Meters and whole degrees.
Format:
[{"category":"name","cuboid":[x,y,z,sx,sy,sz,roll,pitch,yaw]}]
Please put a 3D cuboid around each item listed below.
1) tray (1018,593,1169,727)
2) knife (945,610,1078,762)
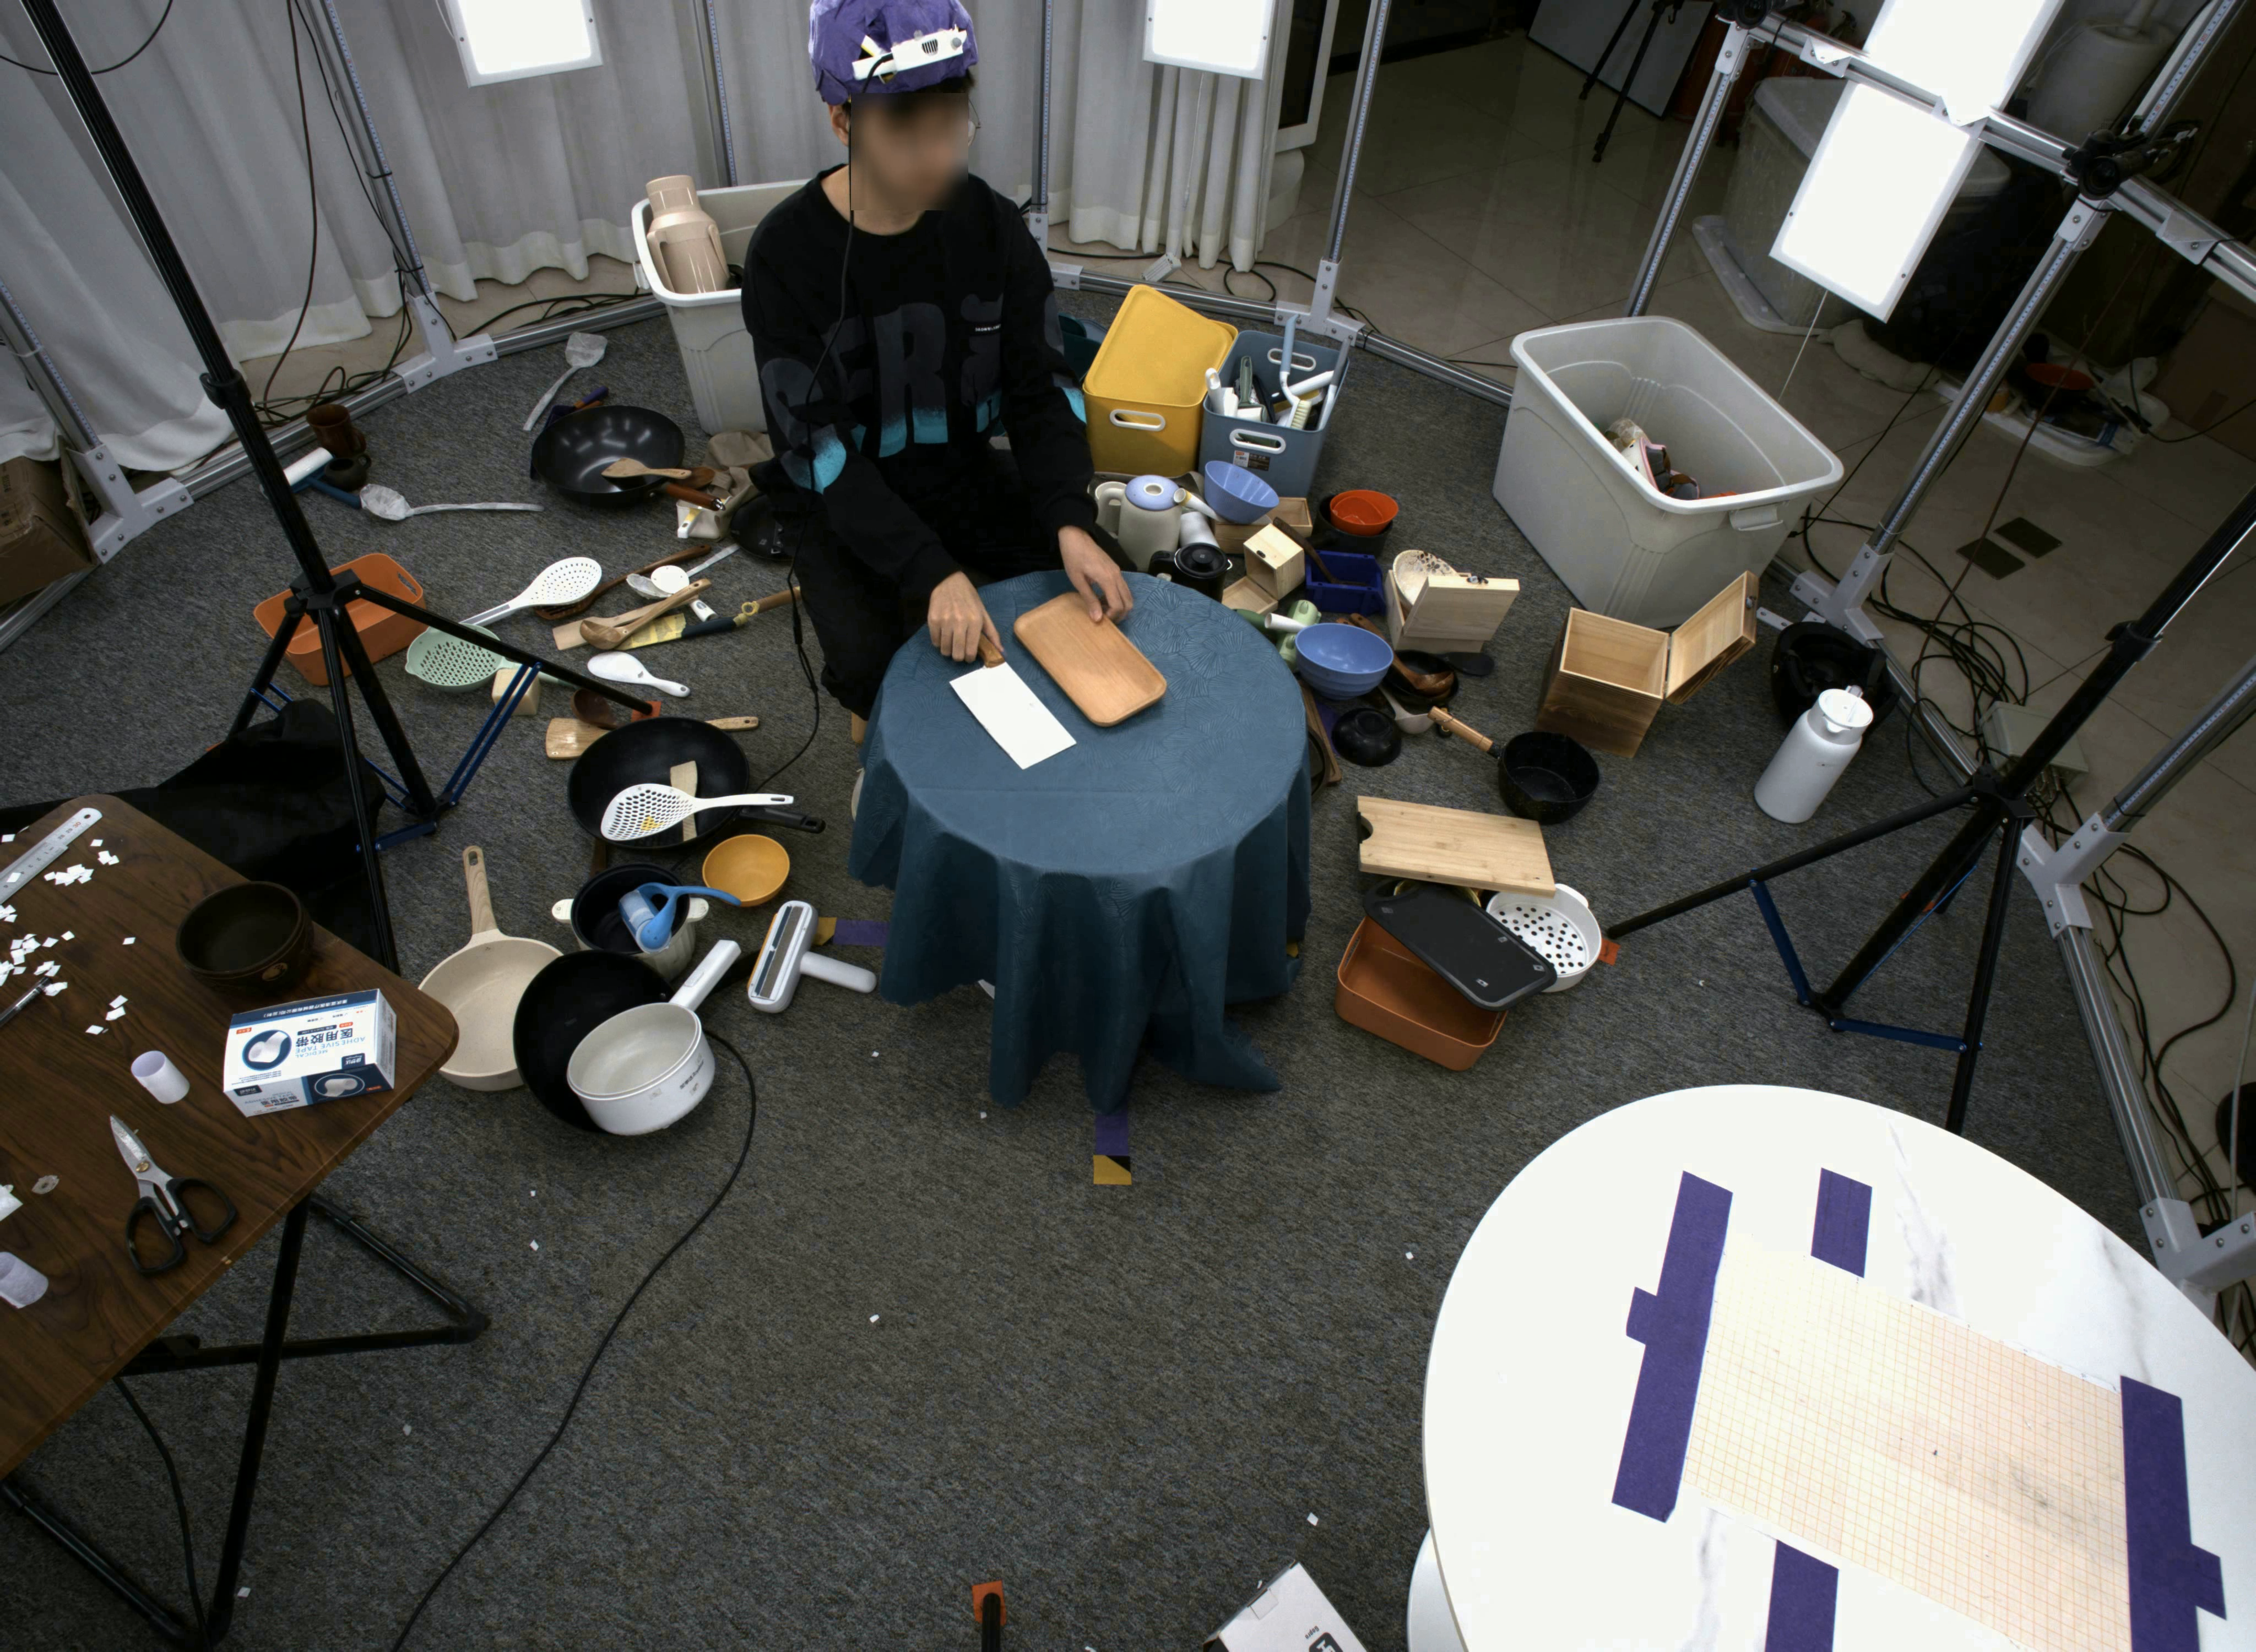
[{"category":"tray","cuboid":[-0.052,-0.243,1.858,0.131,0.022,0.256,-26,55,-19]},{"category":"knife","cuboid":[-0.189,-0.198,1.818,0.093,0.020,0.311,-27,58,-23]}]
